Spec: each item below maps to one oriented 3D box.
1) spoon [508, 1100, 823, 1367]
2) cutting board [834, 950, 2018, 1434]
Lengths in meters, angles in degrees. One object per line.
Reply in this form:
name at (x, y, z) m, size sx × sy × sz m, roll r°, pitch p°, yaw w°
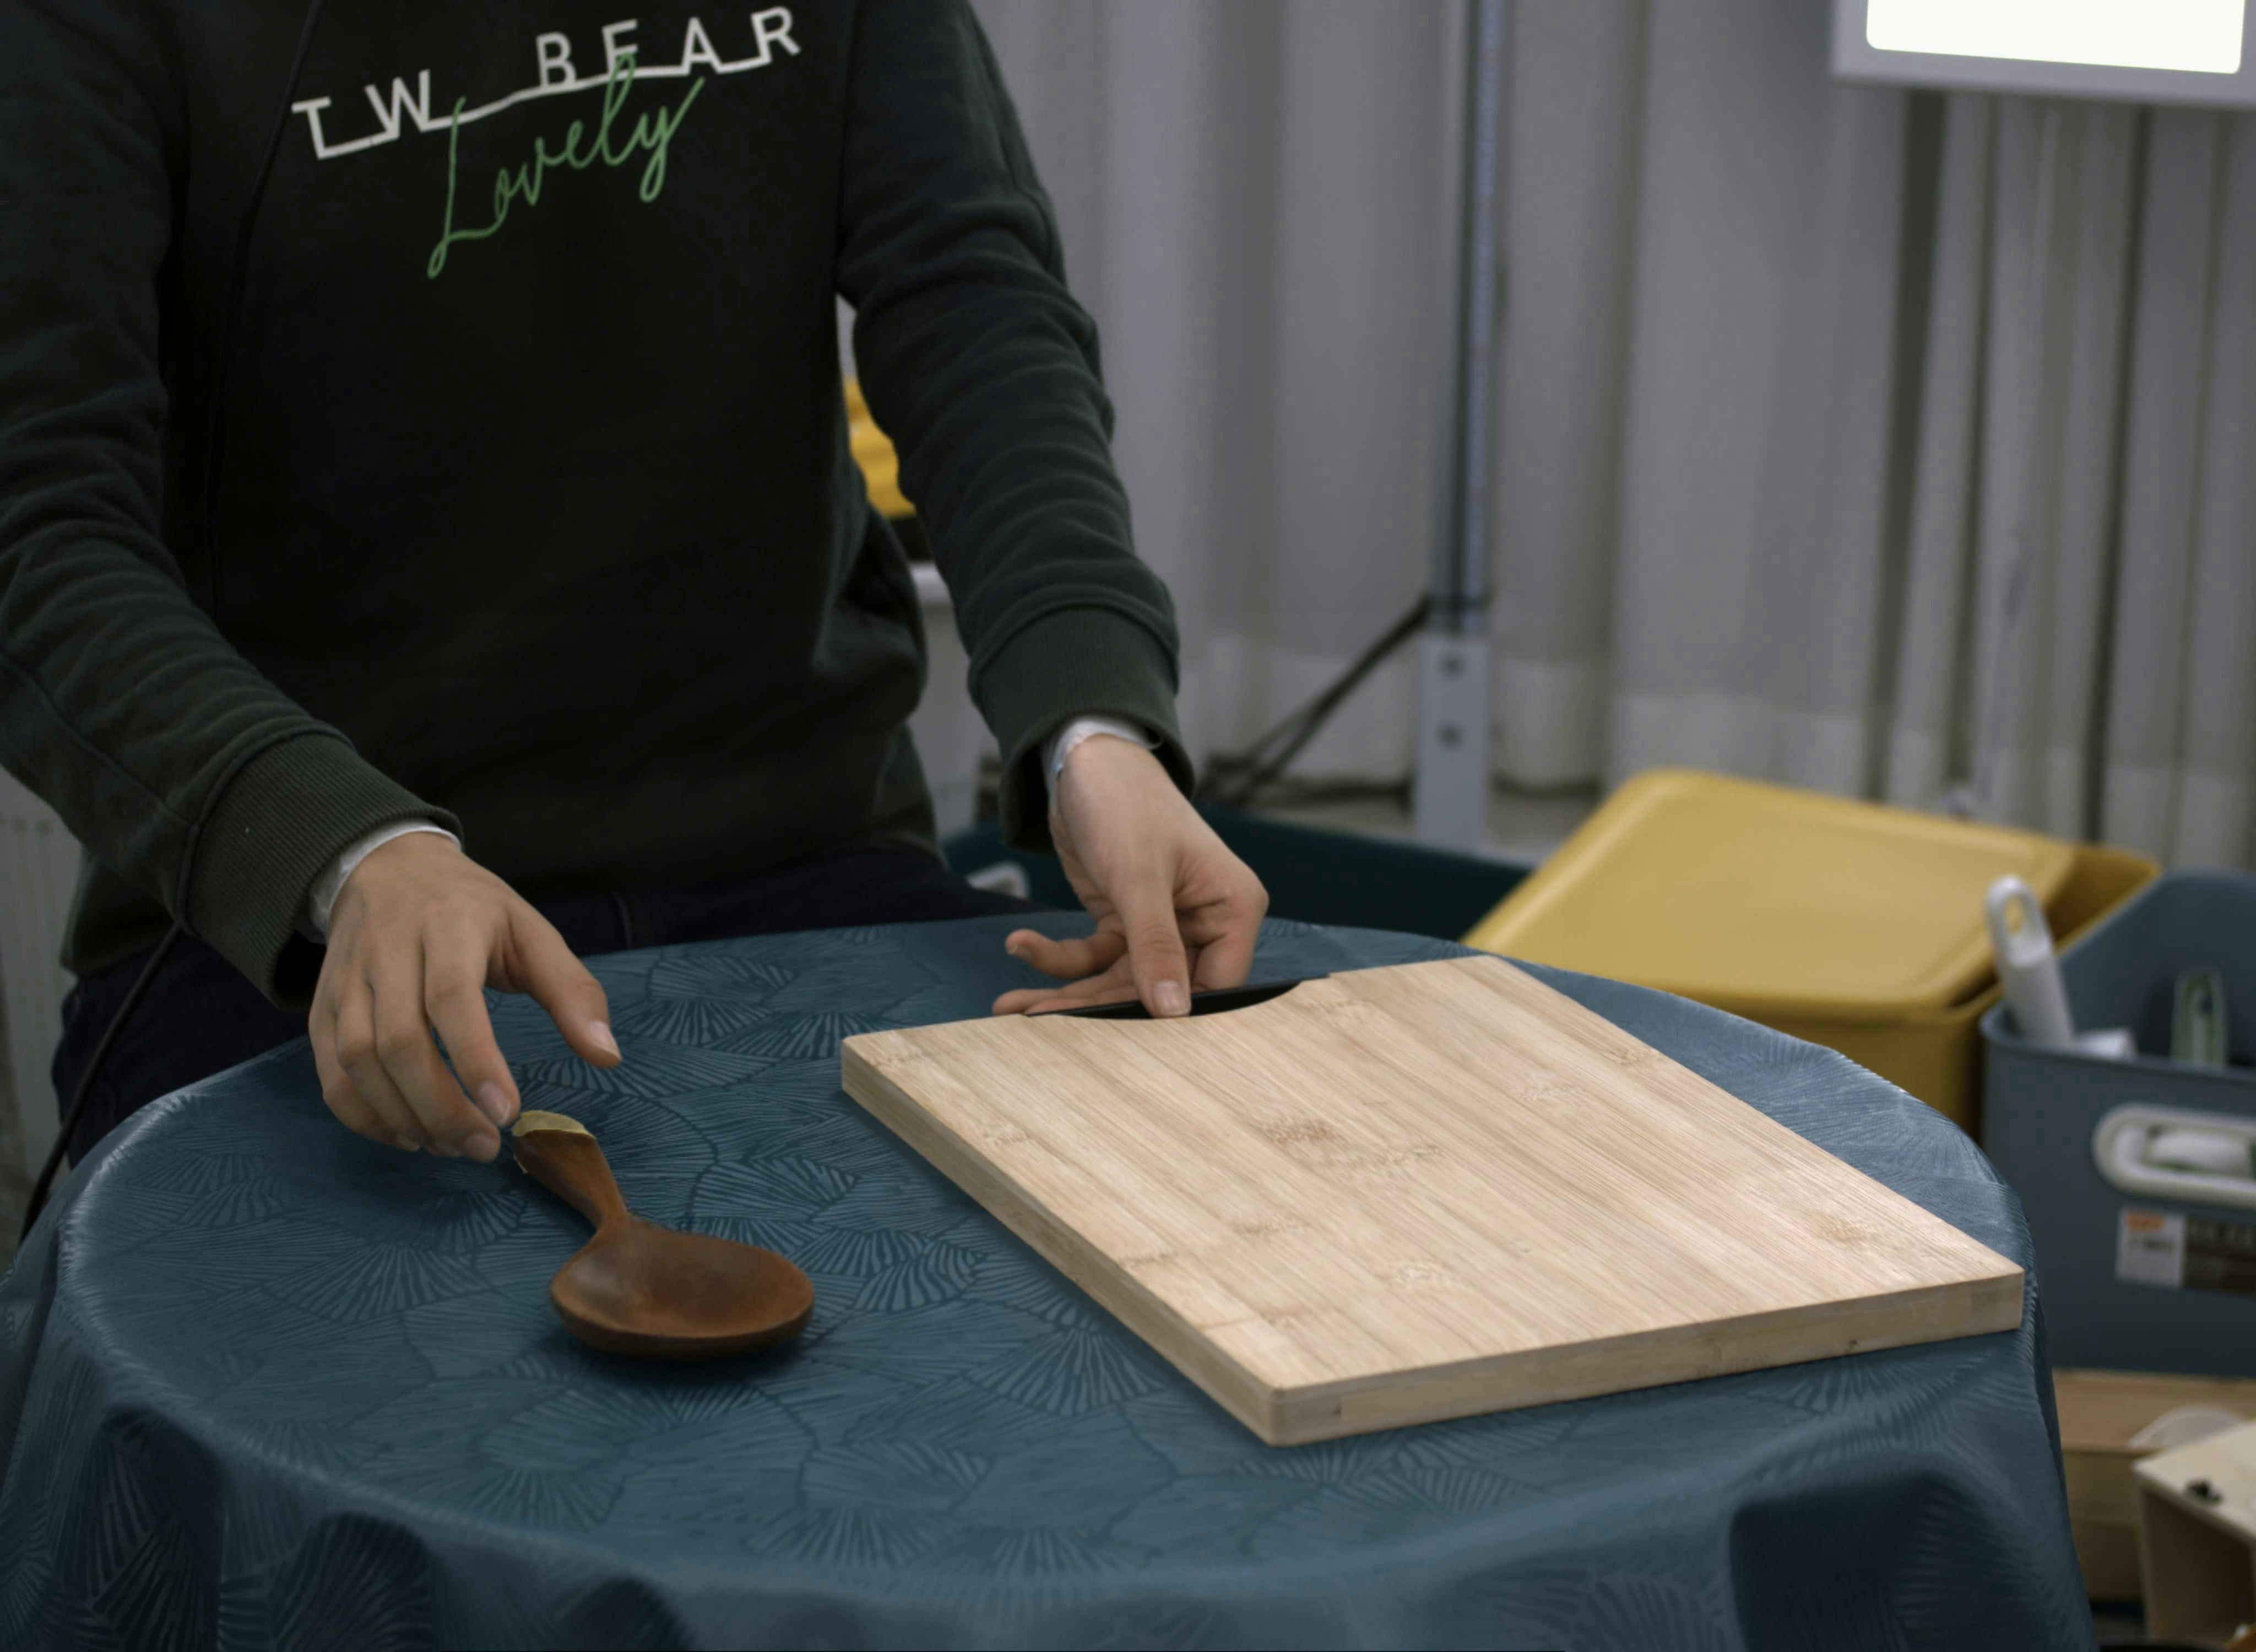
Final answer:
spoon at (-0.147, 0.121, 1.558) m, size 0.075 × 0.017 × 0.213 m, roll -7°, pitch 18°, yaw -19°
cutting board at (0.080, 0.106, 1.624) m, size 0.251 × 0.024 × 0.344 m, roll -6°, pitch 17°, yaw -24°
